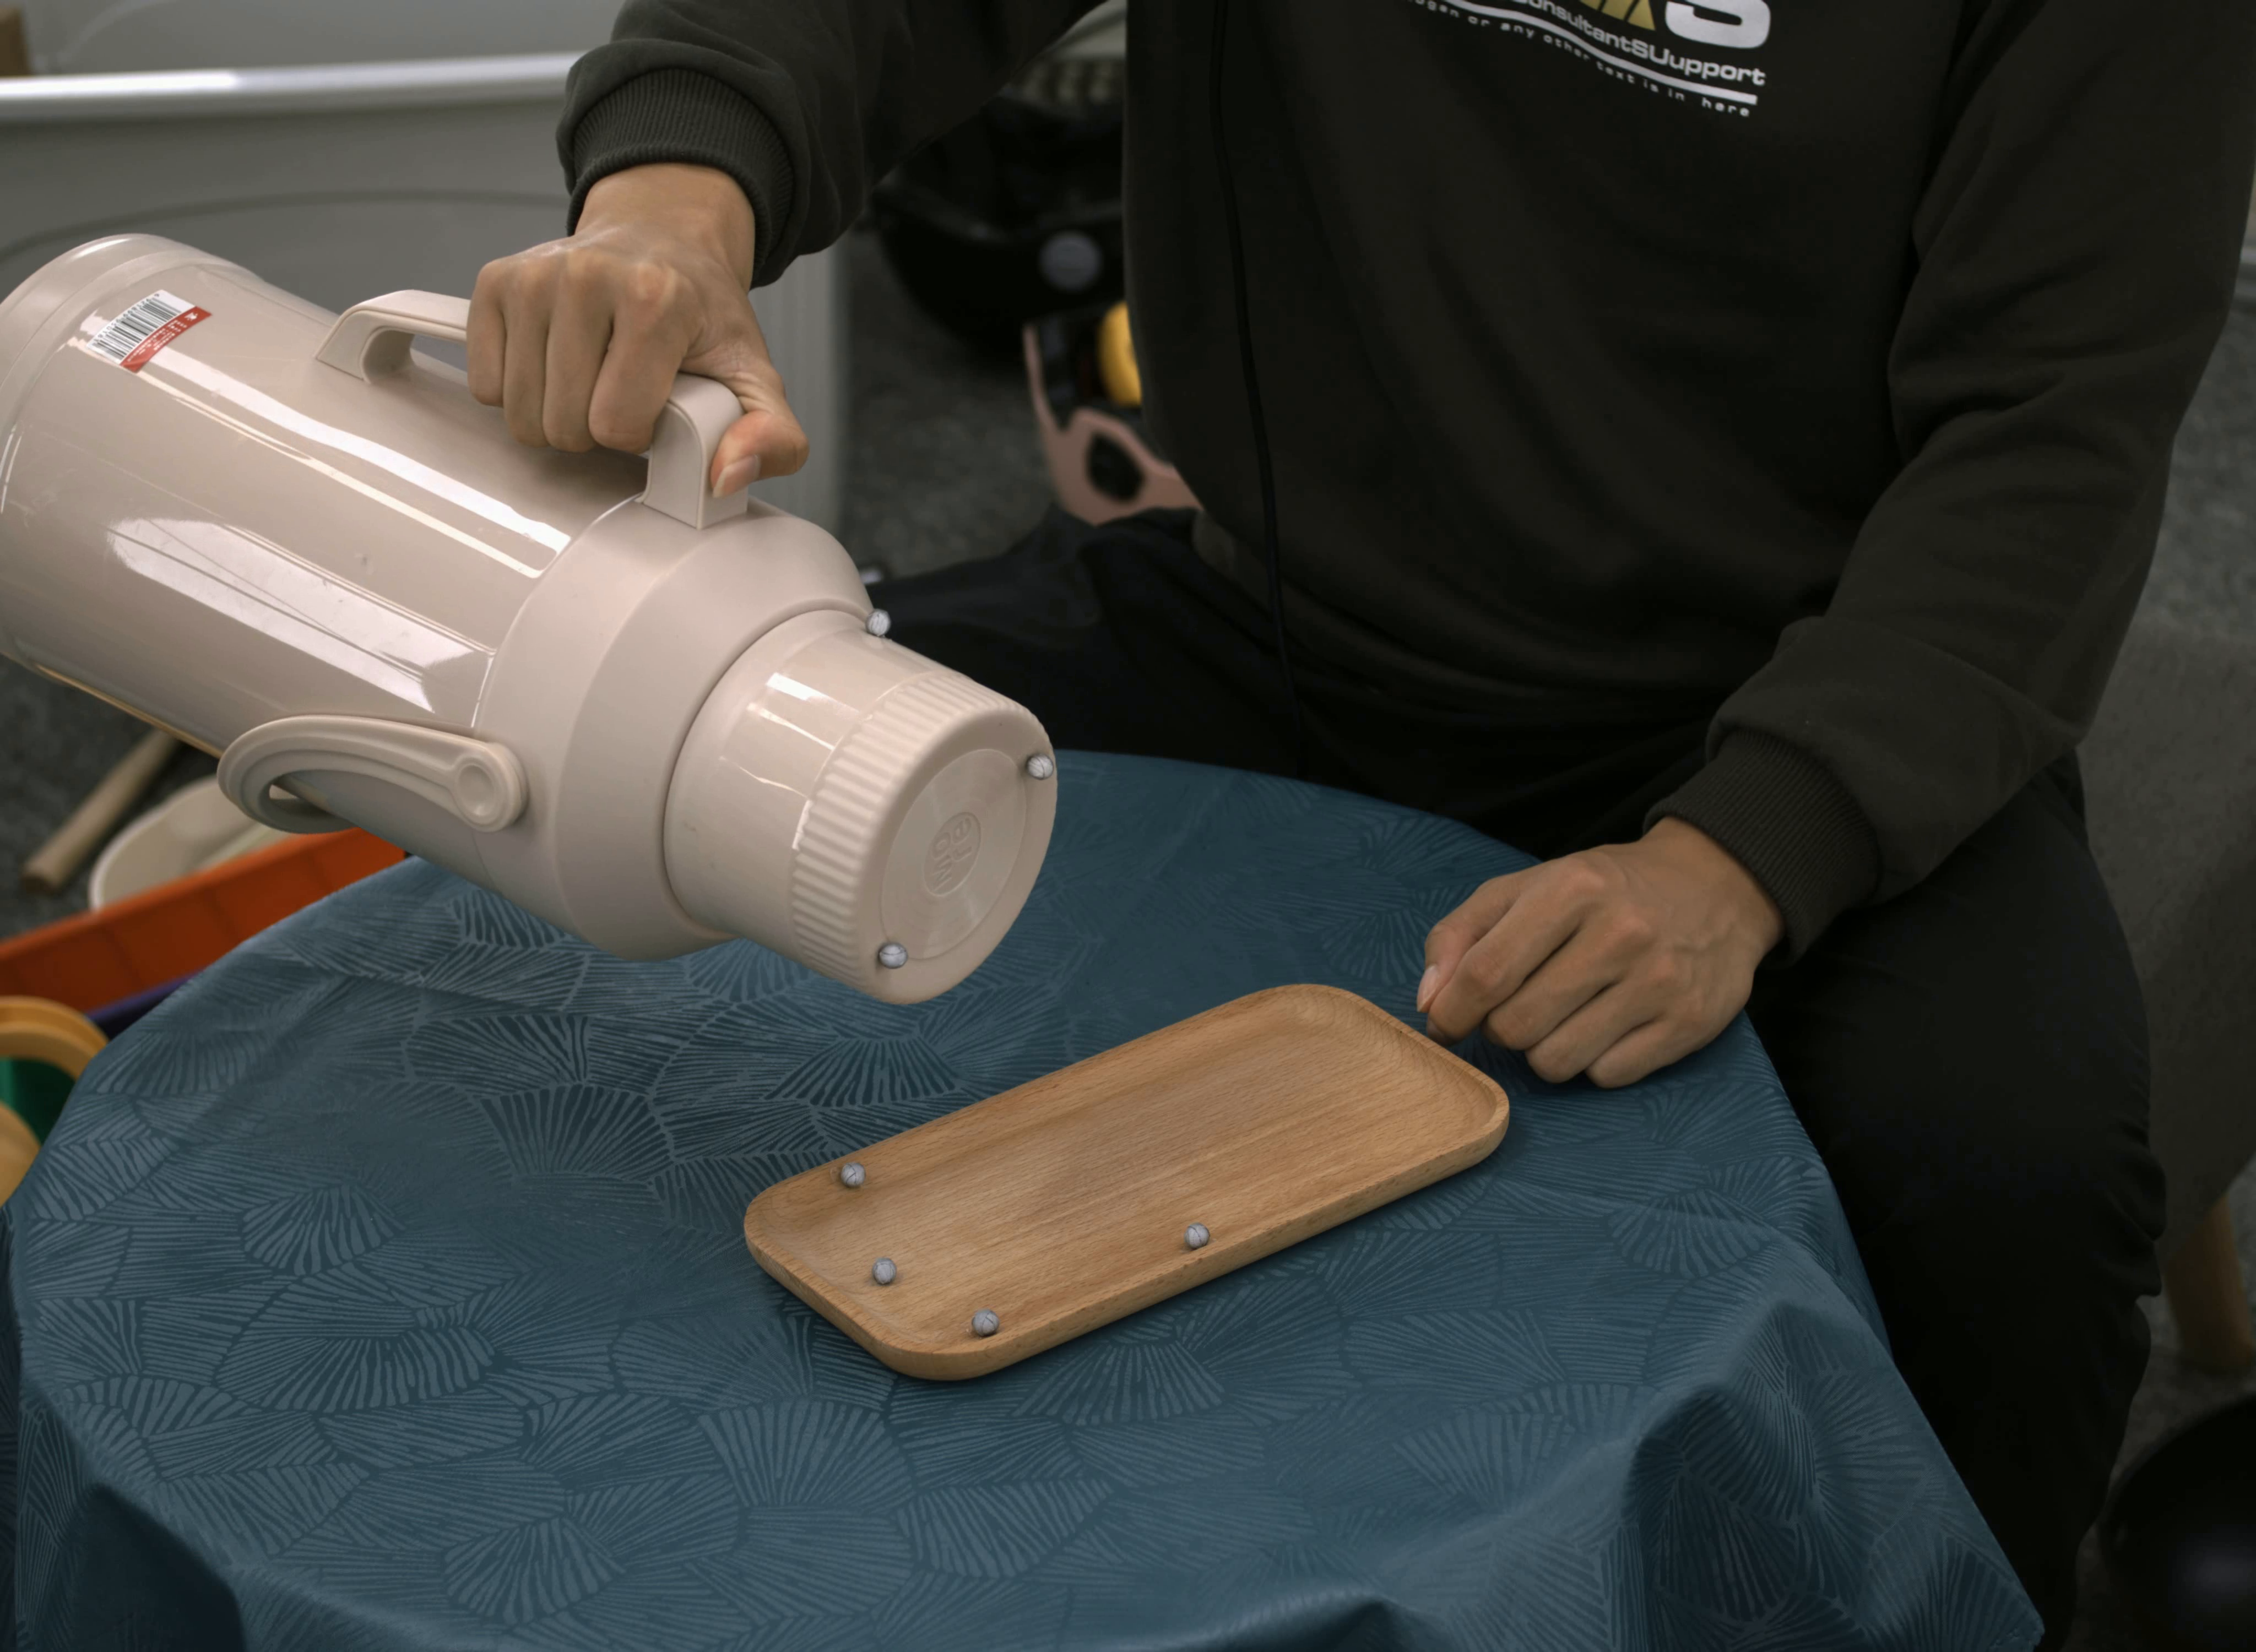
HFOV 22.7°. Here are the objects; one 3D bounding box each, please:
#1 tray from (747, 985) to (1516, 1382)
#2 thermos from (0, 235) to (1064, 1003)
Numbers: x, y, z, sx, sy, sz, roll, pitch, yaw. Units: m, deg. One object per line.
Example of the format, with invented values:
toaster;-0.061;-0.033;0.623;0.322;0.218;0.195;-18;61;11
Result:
tray;0.002;0.116;1.858;0.253;0.022;0.131;-19;34;-30
thermos;-0.206;-0.076;1.880;0.406;0.205;0.177;25;31;32
